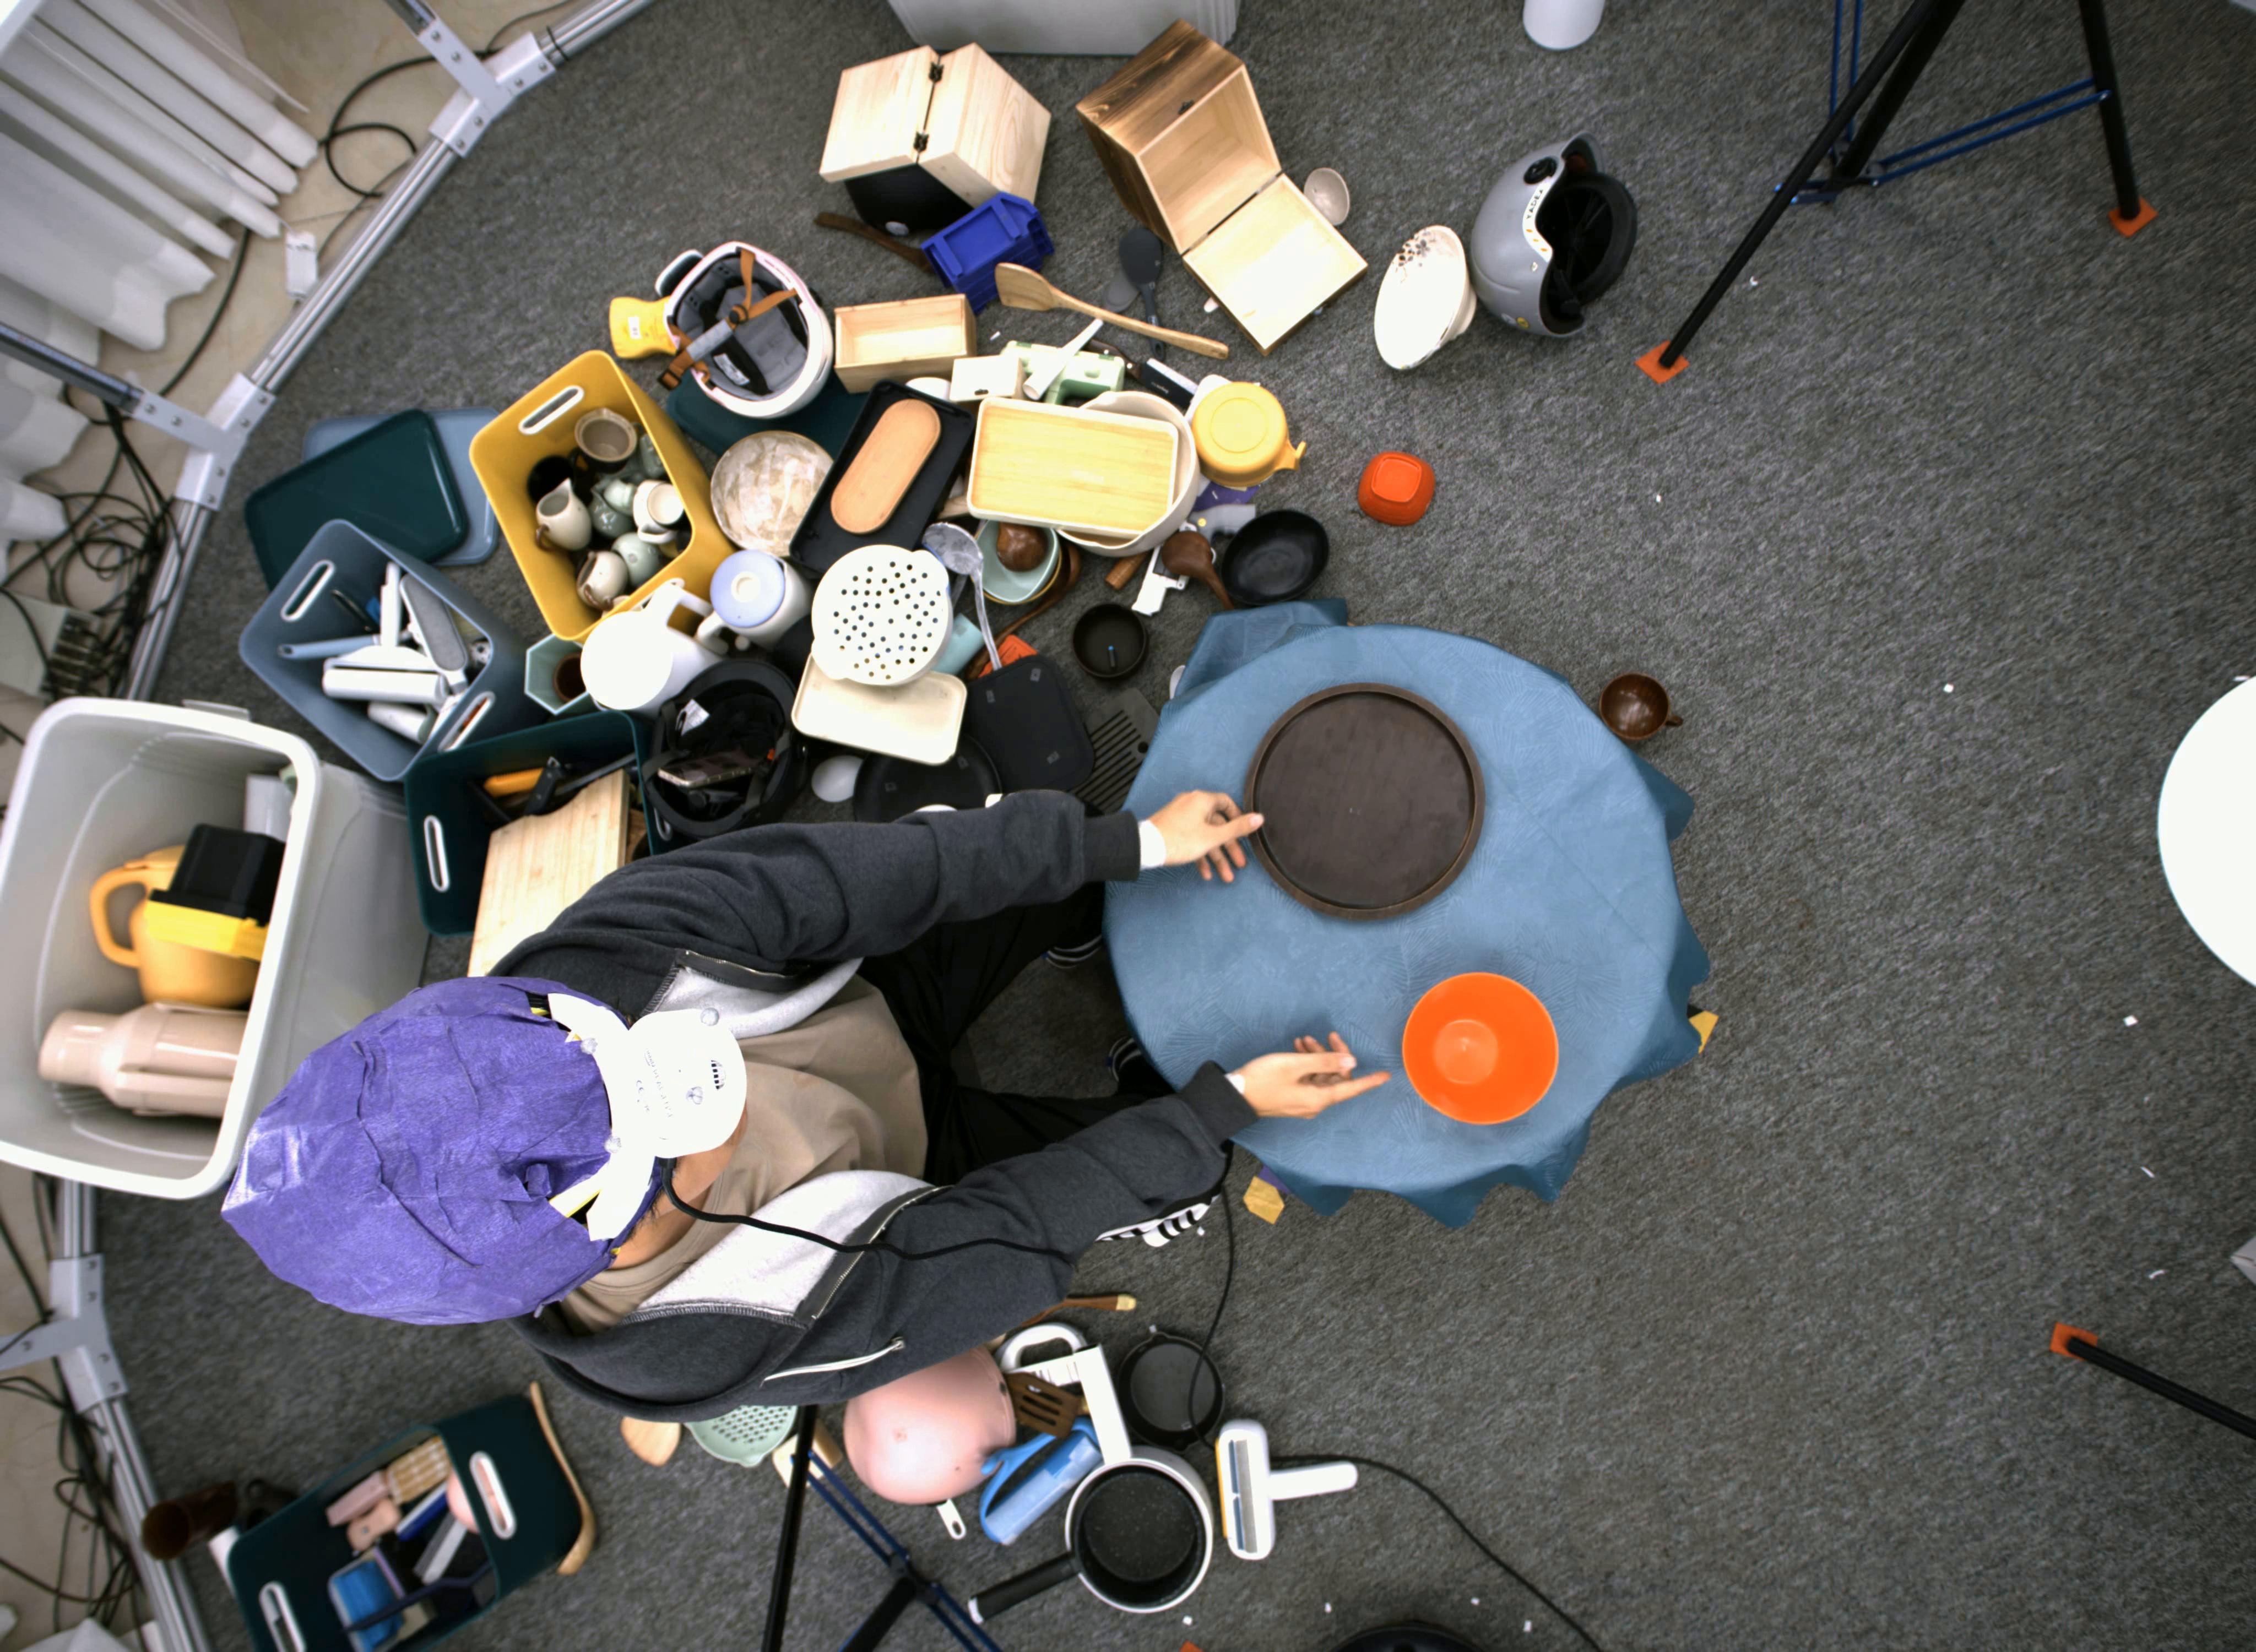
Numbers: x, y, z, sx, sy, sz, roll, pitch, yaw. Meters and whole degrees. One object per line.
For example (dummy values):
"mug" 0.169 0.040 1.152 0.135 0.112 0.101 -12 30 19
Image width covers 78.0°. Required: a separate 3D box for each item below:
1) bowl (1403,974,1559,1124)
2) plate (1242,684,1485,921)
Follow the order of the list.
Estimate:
"bowl" 0.349 0.220 1.385 0.148 0.104 0.147 0 87 8
"plate" 0.248 -0.027 1.457 0.256 0.029 0.254 -1 88 10
